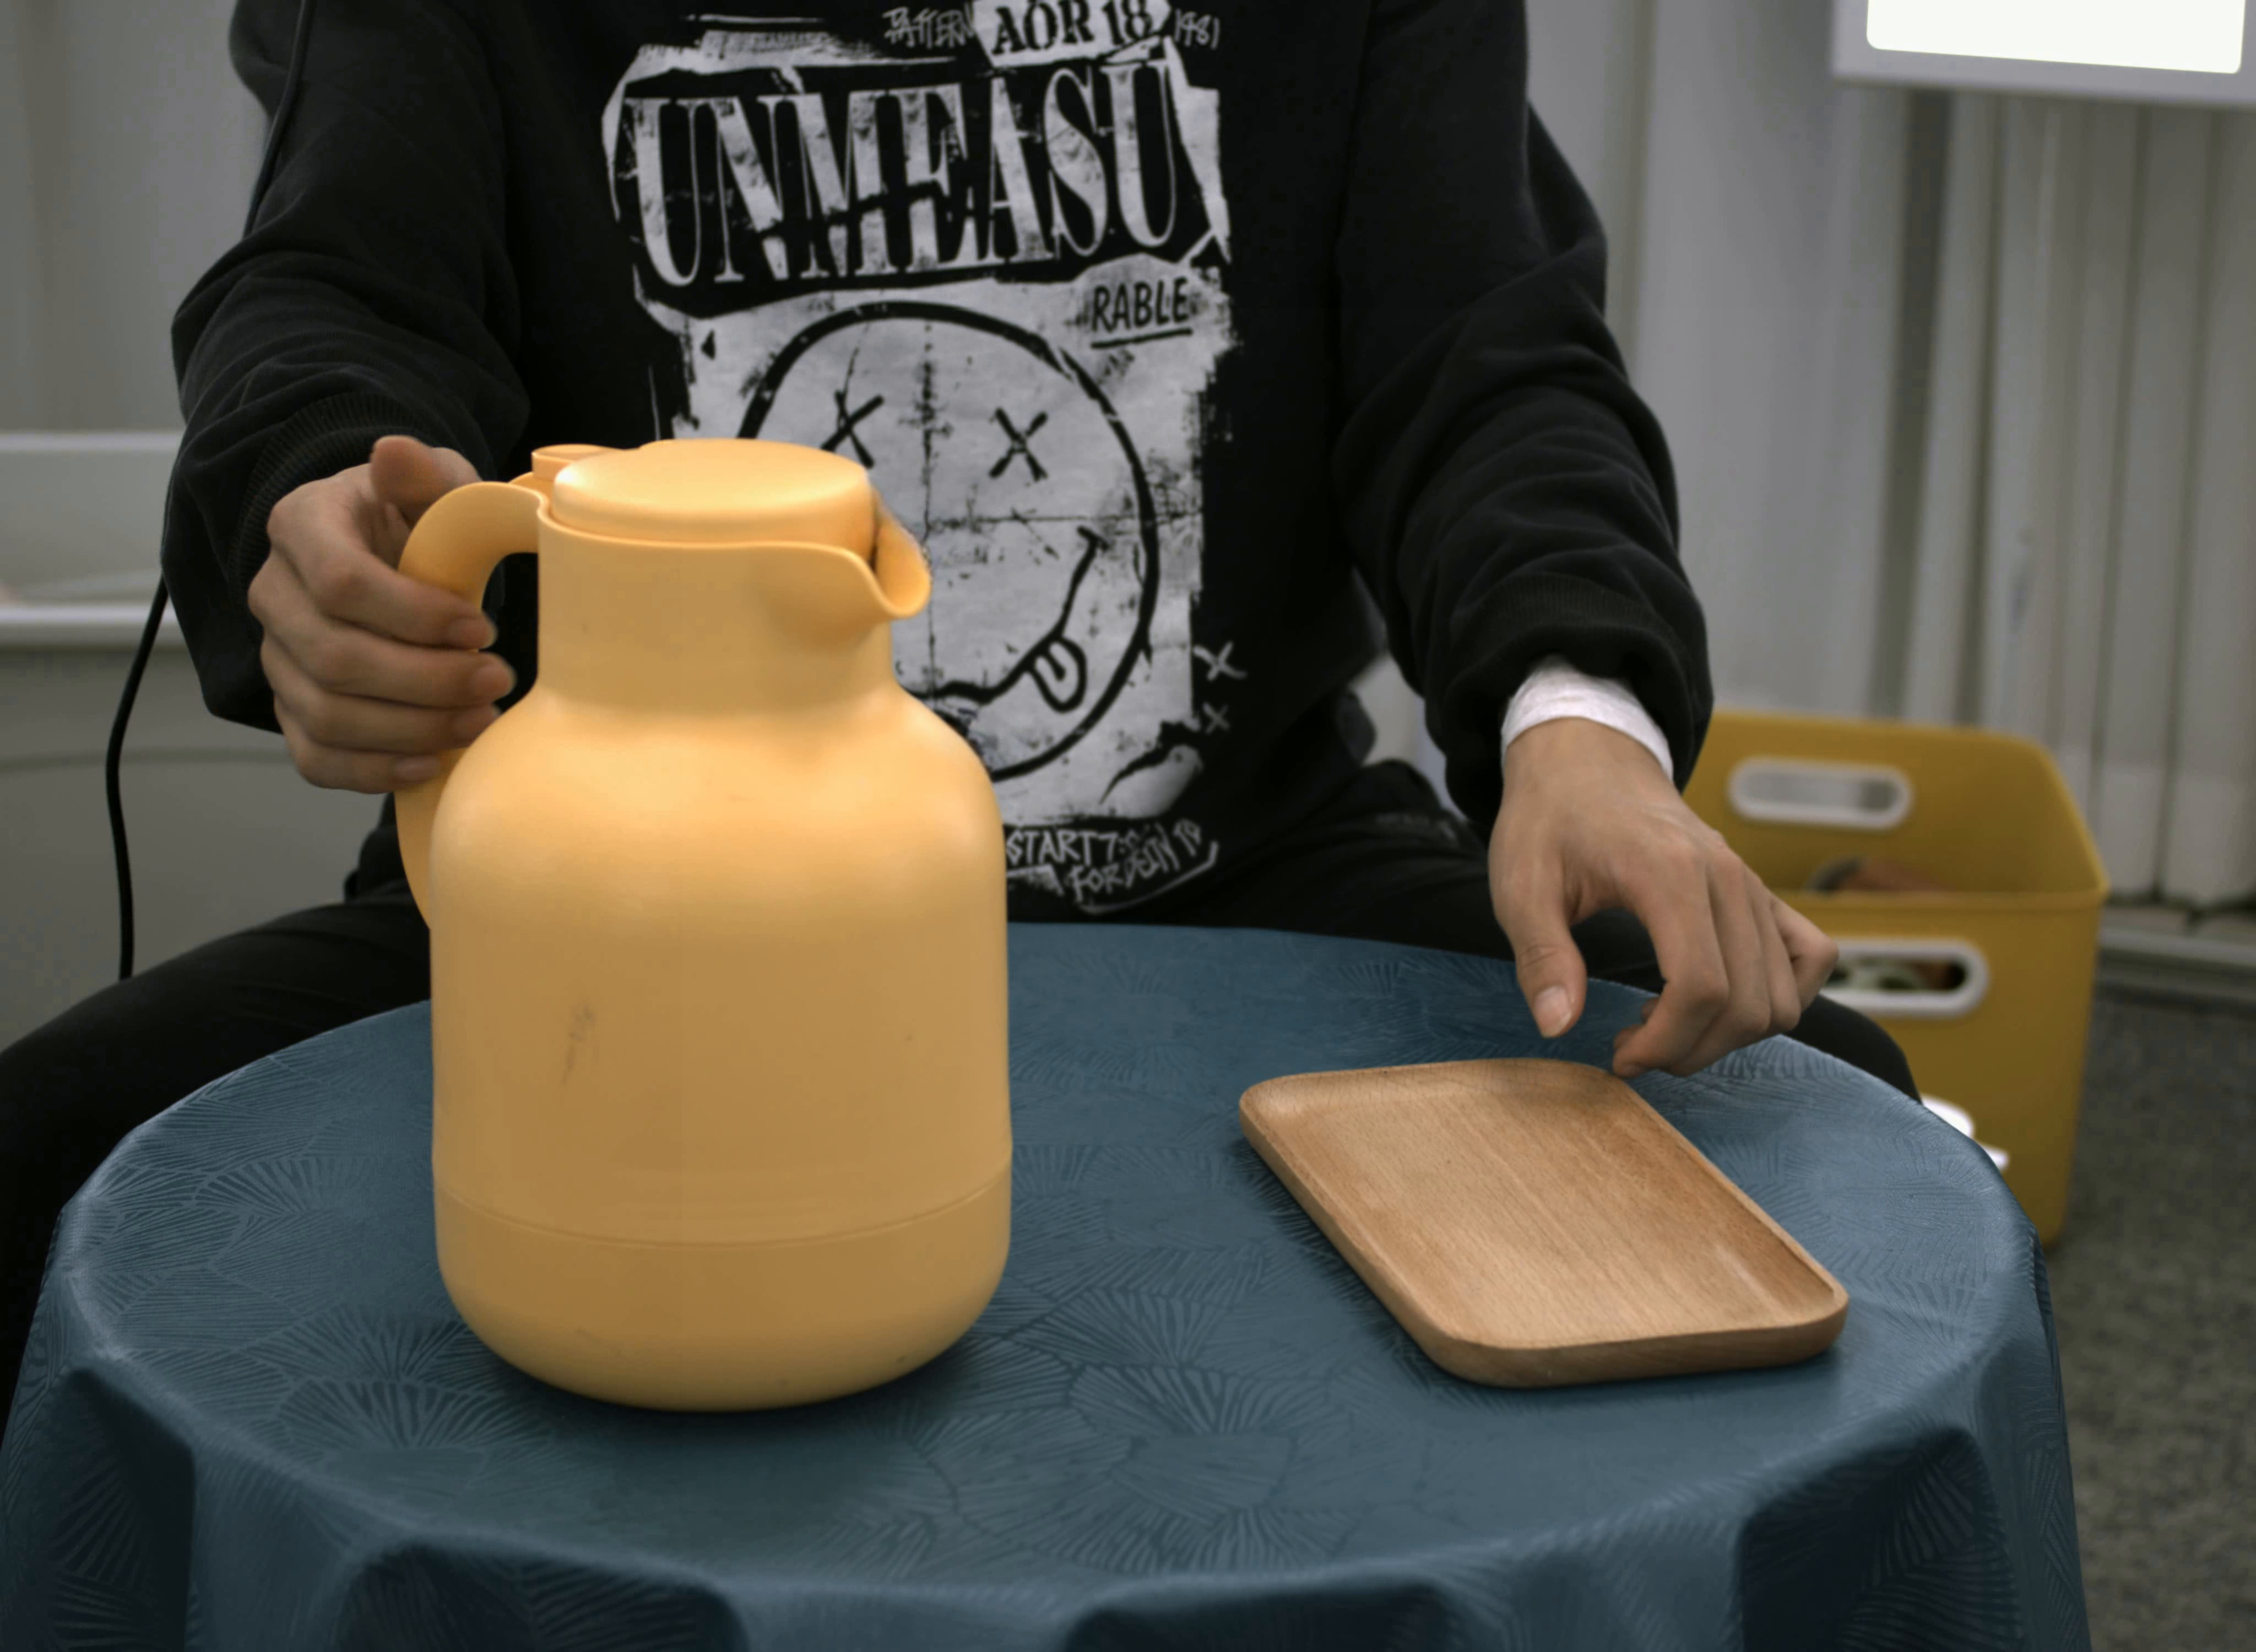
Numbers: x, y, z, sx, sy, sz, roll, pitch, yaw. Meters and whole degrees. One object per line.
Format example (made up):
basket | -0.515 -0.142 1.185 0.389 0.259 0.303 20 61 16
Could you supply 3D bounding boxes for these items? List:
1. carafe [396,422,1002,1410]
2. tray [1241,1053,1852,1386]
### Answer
carafe | -0.128 0.016 1.471 0.199 0.262 0.164 17 20 40
tray | 0.121 0.115 1.584 0.131 0.023 0.248 -1 15 -13
